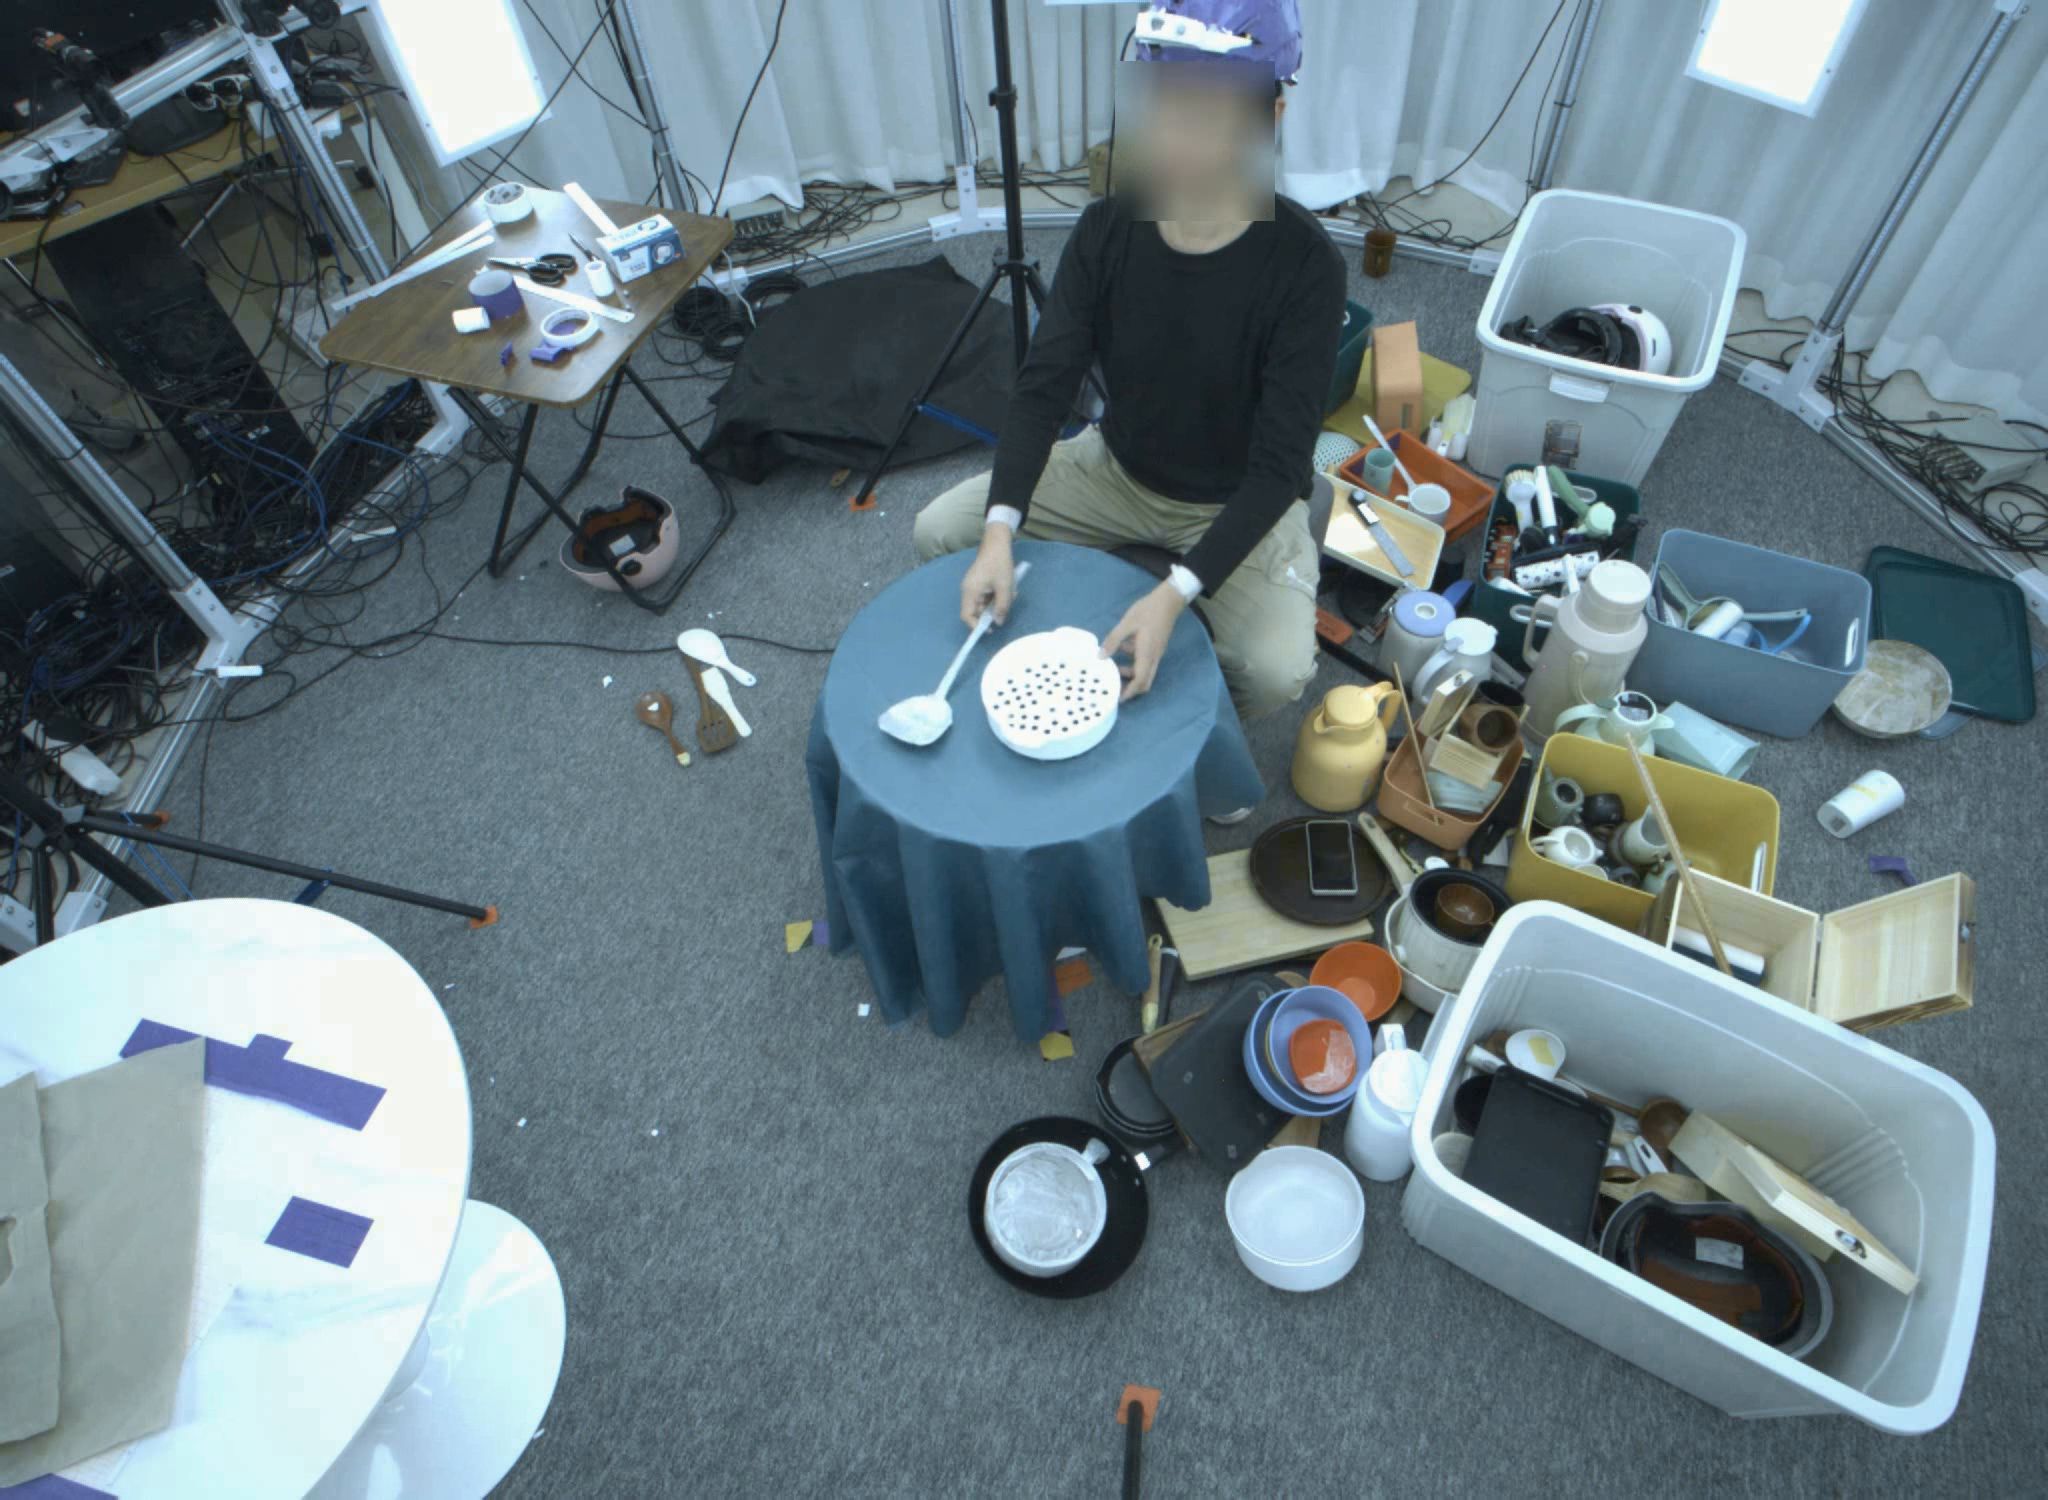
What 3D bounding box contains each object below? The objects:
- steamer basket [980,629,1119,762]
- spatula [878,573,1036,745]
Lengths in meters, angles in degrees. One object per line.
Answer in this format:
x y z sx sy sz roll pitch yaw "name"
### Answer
0.038 -0.075 1.797 0.200 0.070 0.230 19 57 14 "steamer basket"
-0.087 -0.150 1.854 0.097 0.045 0.365 24 68 22 "spatula"
